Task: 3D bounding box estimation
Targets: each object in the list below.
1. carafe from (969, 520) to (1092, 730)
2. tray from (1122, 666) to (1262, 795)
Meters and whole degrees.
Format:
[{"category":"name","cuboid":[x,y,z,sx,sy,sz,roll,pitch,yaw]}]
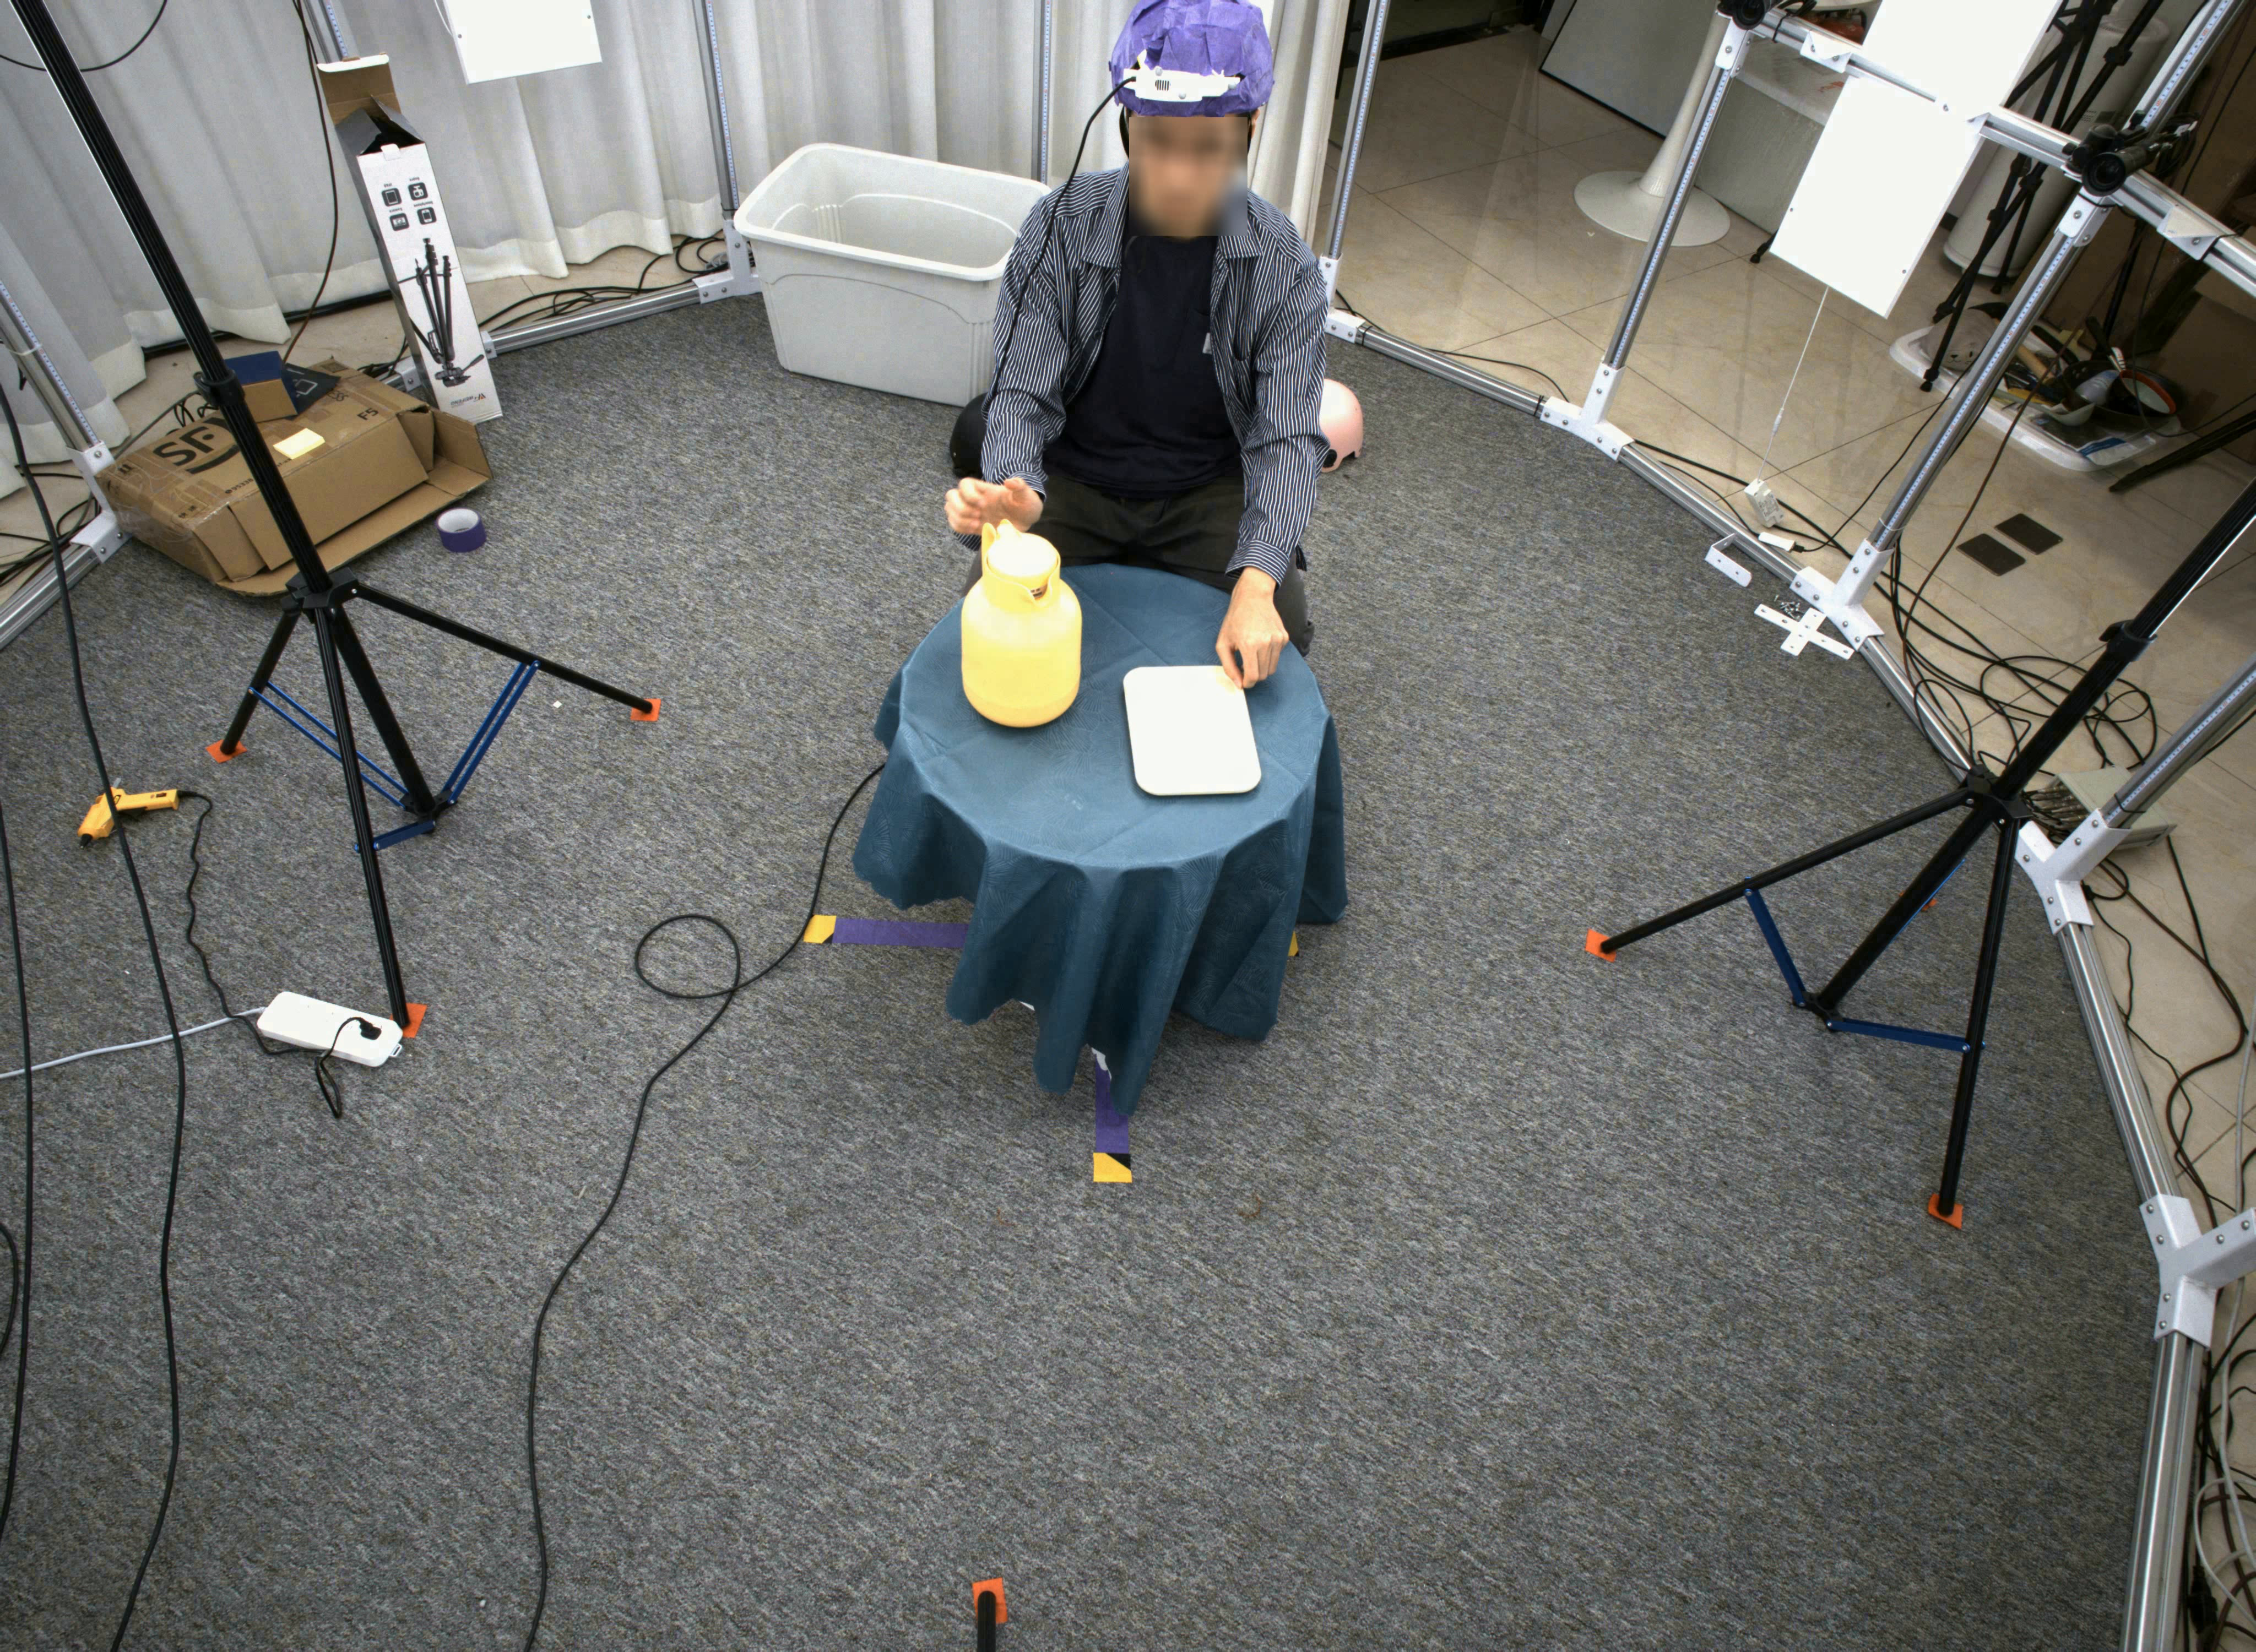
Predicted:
[{"category":"carafe","cuboid":[-0.136,-0.276,1.719,0.164,0.254,0.207,-17,53,-22]},{"category":"tray","cuboid":[0.085,-0.133,1.770,0.171,0.017,0.246,-2,49,-7]}]
